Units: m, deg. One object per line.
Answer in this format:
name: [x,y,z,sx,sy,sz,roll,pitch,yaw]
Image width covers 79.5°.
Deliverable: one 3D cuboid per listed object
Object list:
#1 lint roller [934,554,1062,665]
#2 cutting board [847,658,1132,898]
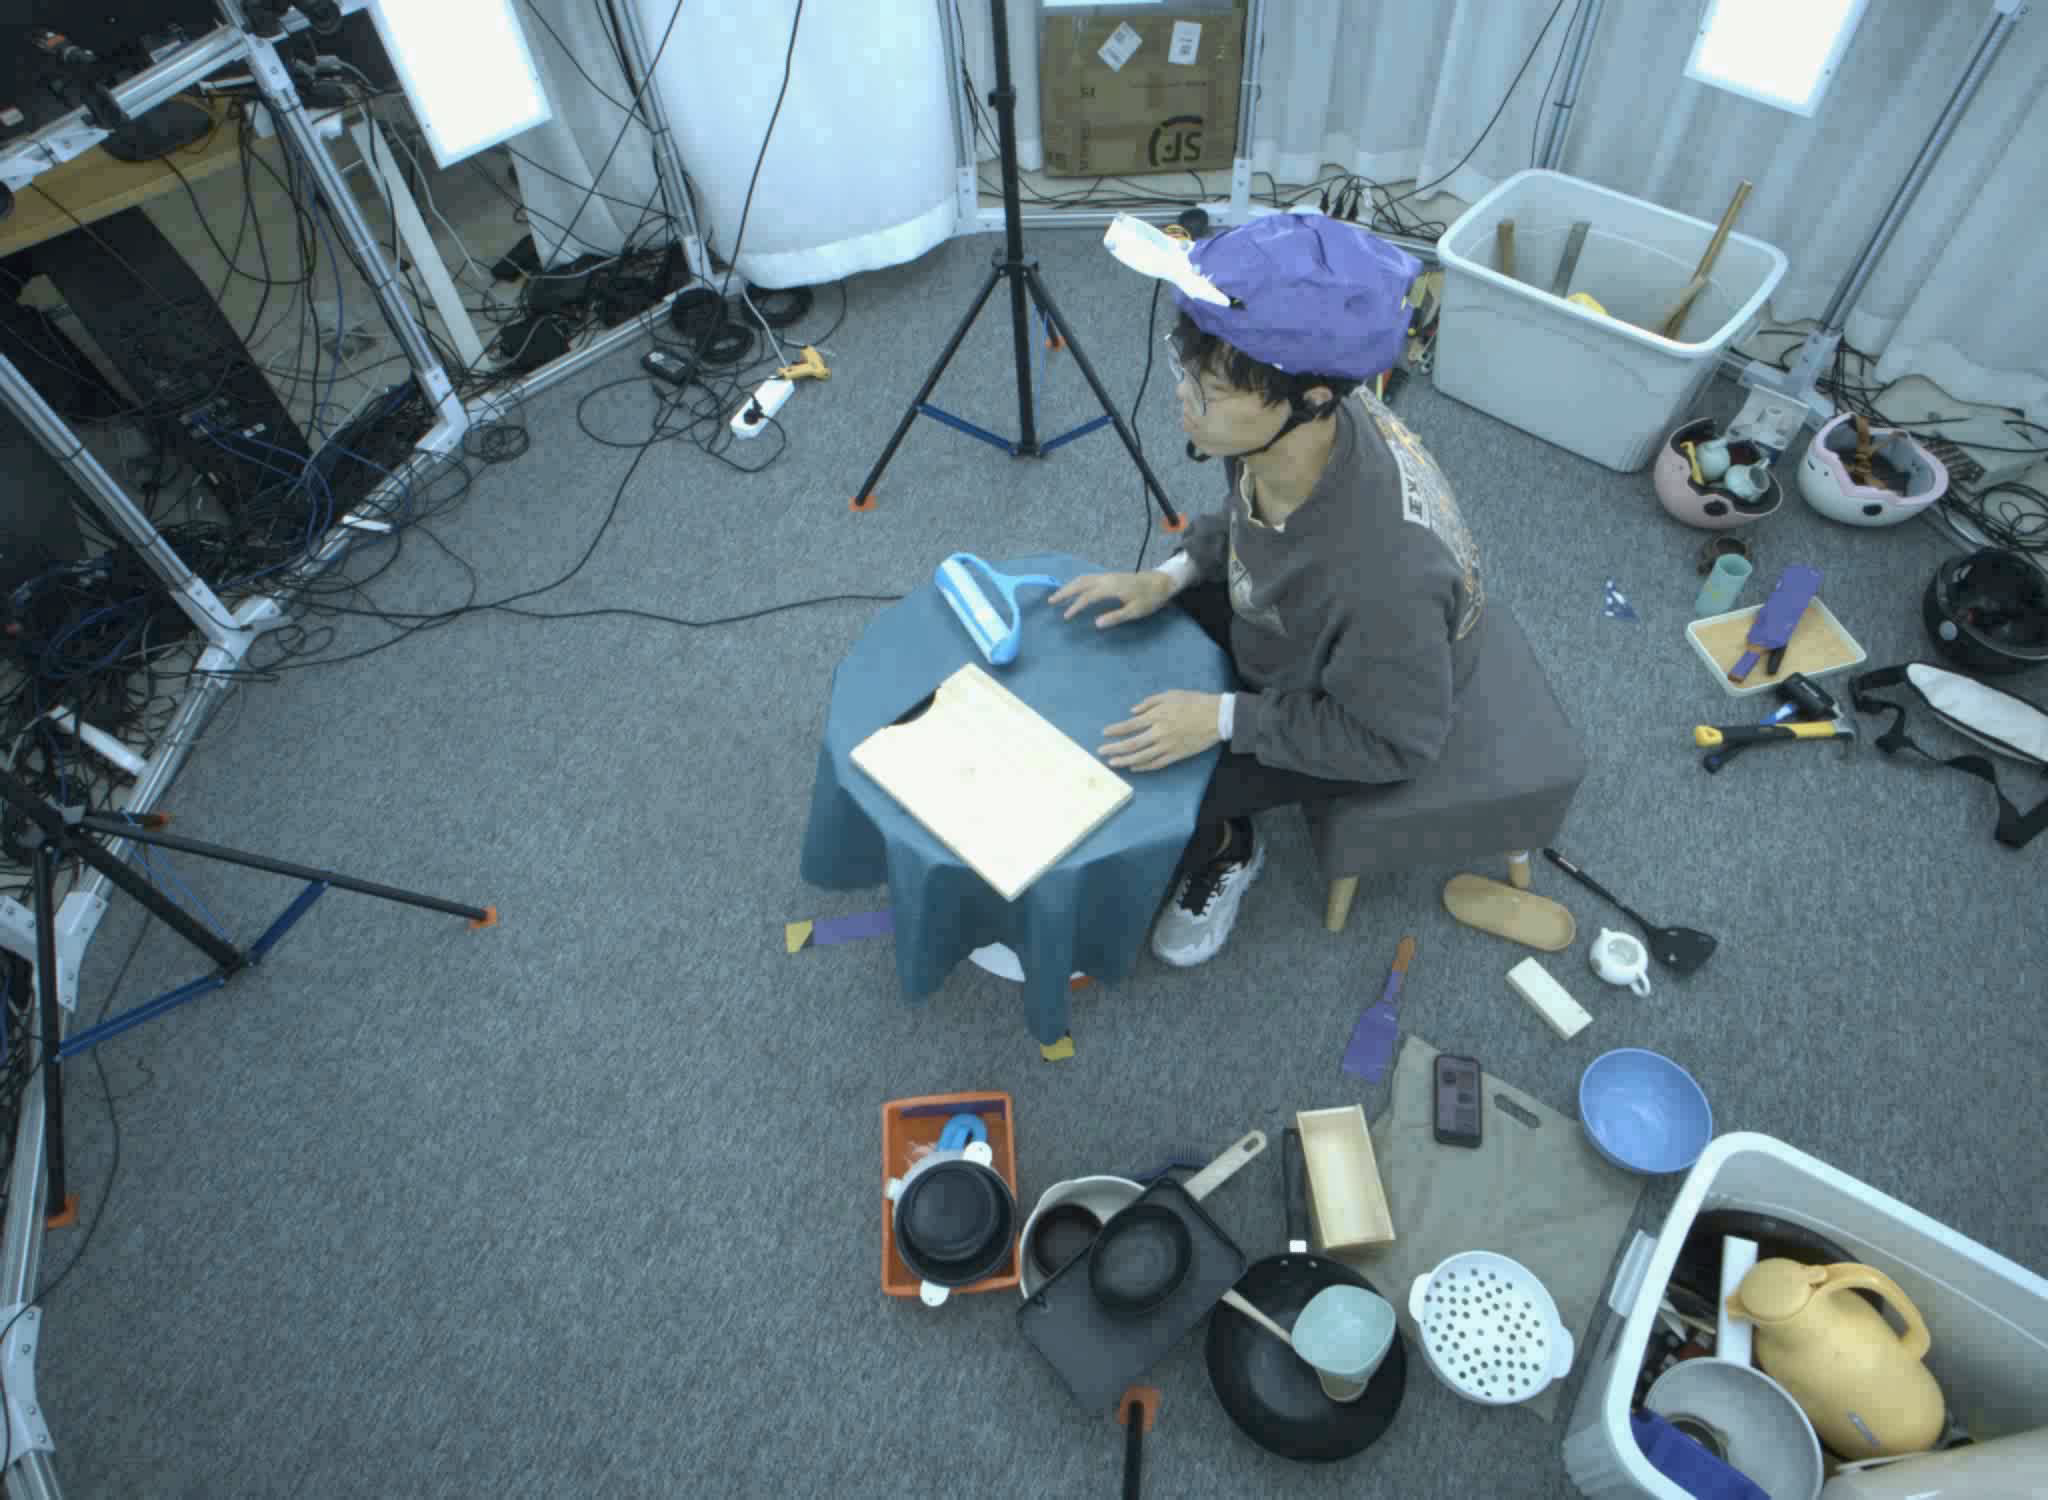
lint roller: [-0.025,-0.243,1.925,0.181,0.069,0.224,-27,56,-14]
cutting board: [-0.053,0.031,1.755,0.342,0.024,0.252,38,63,25]
